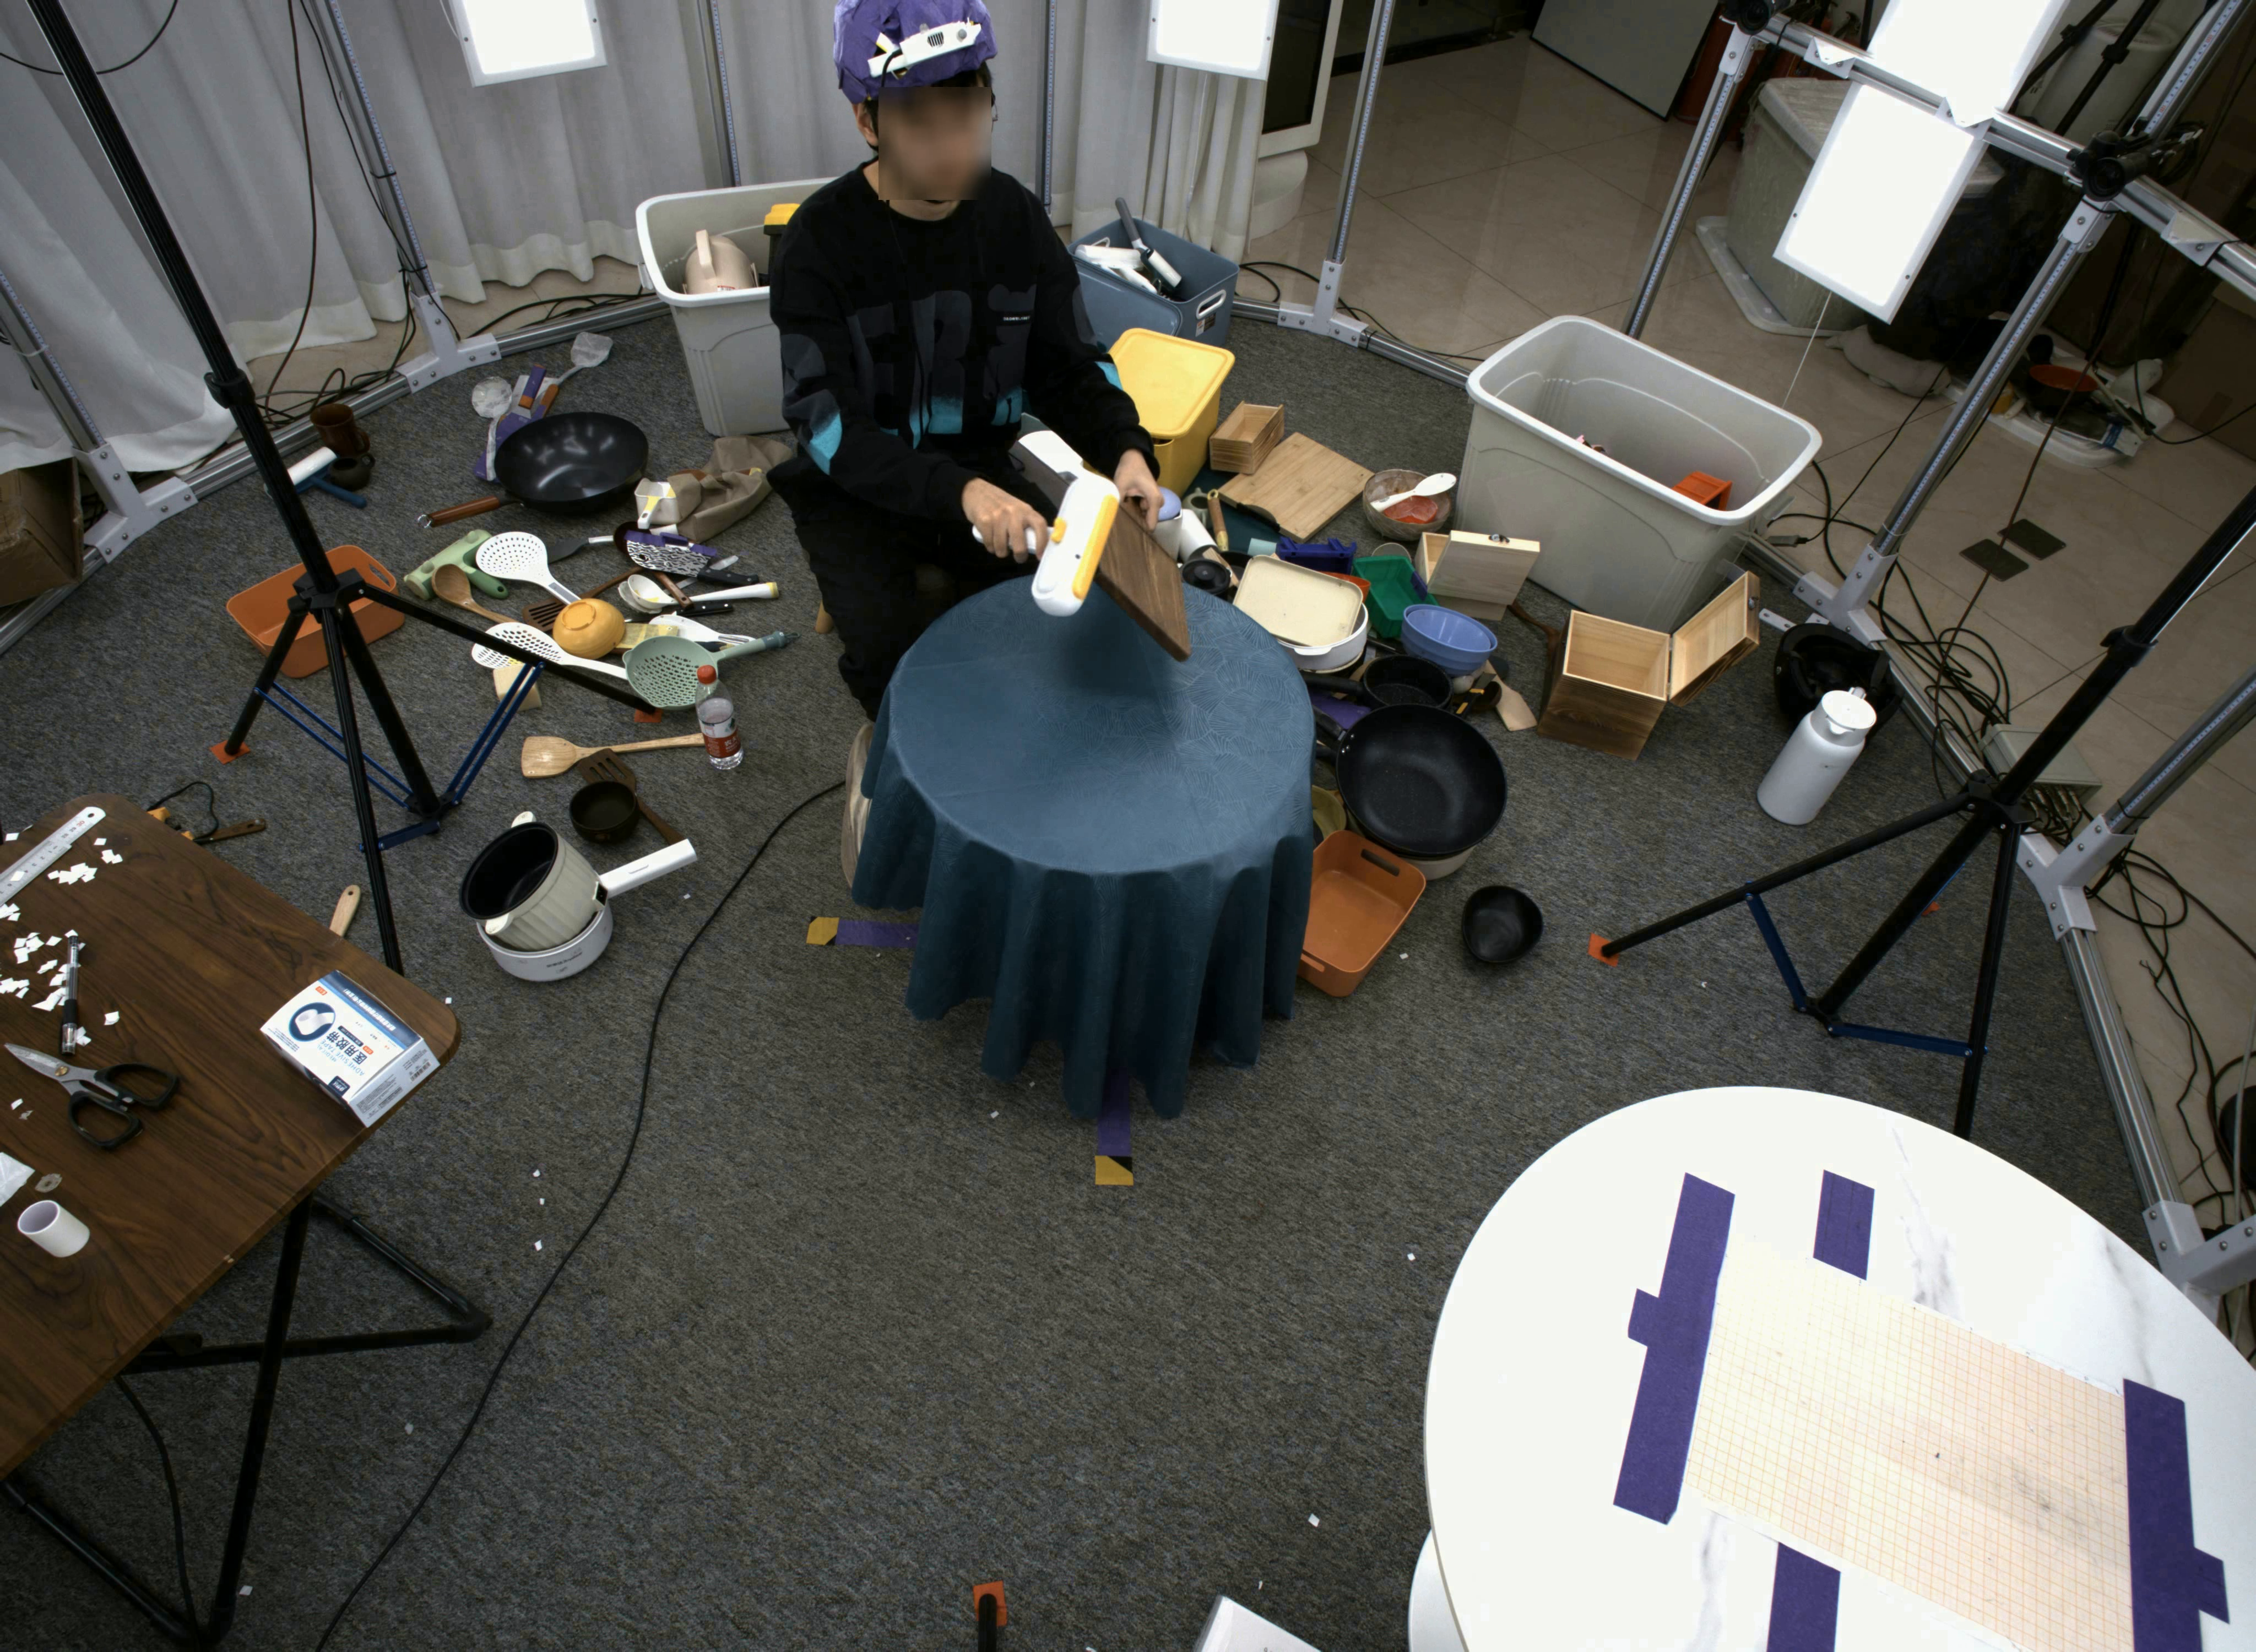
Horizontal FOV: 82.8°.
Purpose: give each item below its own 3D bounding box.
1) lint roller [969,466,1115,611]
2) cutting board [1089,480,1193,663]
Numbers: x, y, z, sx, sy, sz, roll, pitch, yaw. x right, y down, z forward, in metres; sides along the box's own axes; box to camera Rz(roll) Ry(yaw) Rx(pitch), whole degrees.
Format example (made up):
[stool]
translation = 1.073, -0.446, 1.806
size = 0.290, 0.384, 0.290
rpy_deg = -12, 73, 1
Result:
[lint roller]
translation = -0.120, -0.378, 1.686
size = 0.194, 0.073, 0.194
rpy_deg = 7, 80, 37
[cutting board]
translation = 0.010, -0.395, 1.839
size = 0.023, 0.197, 0.361
rpy_deg = -35, 36, 25
